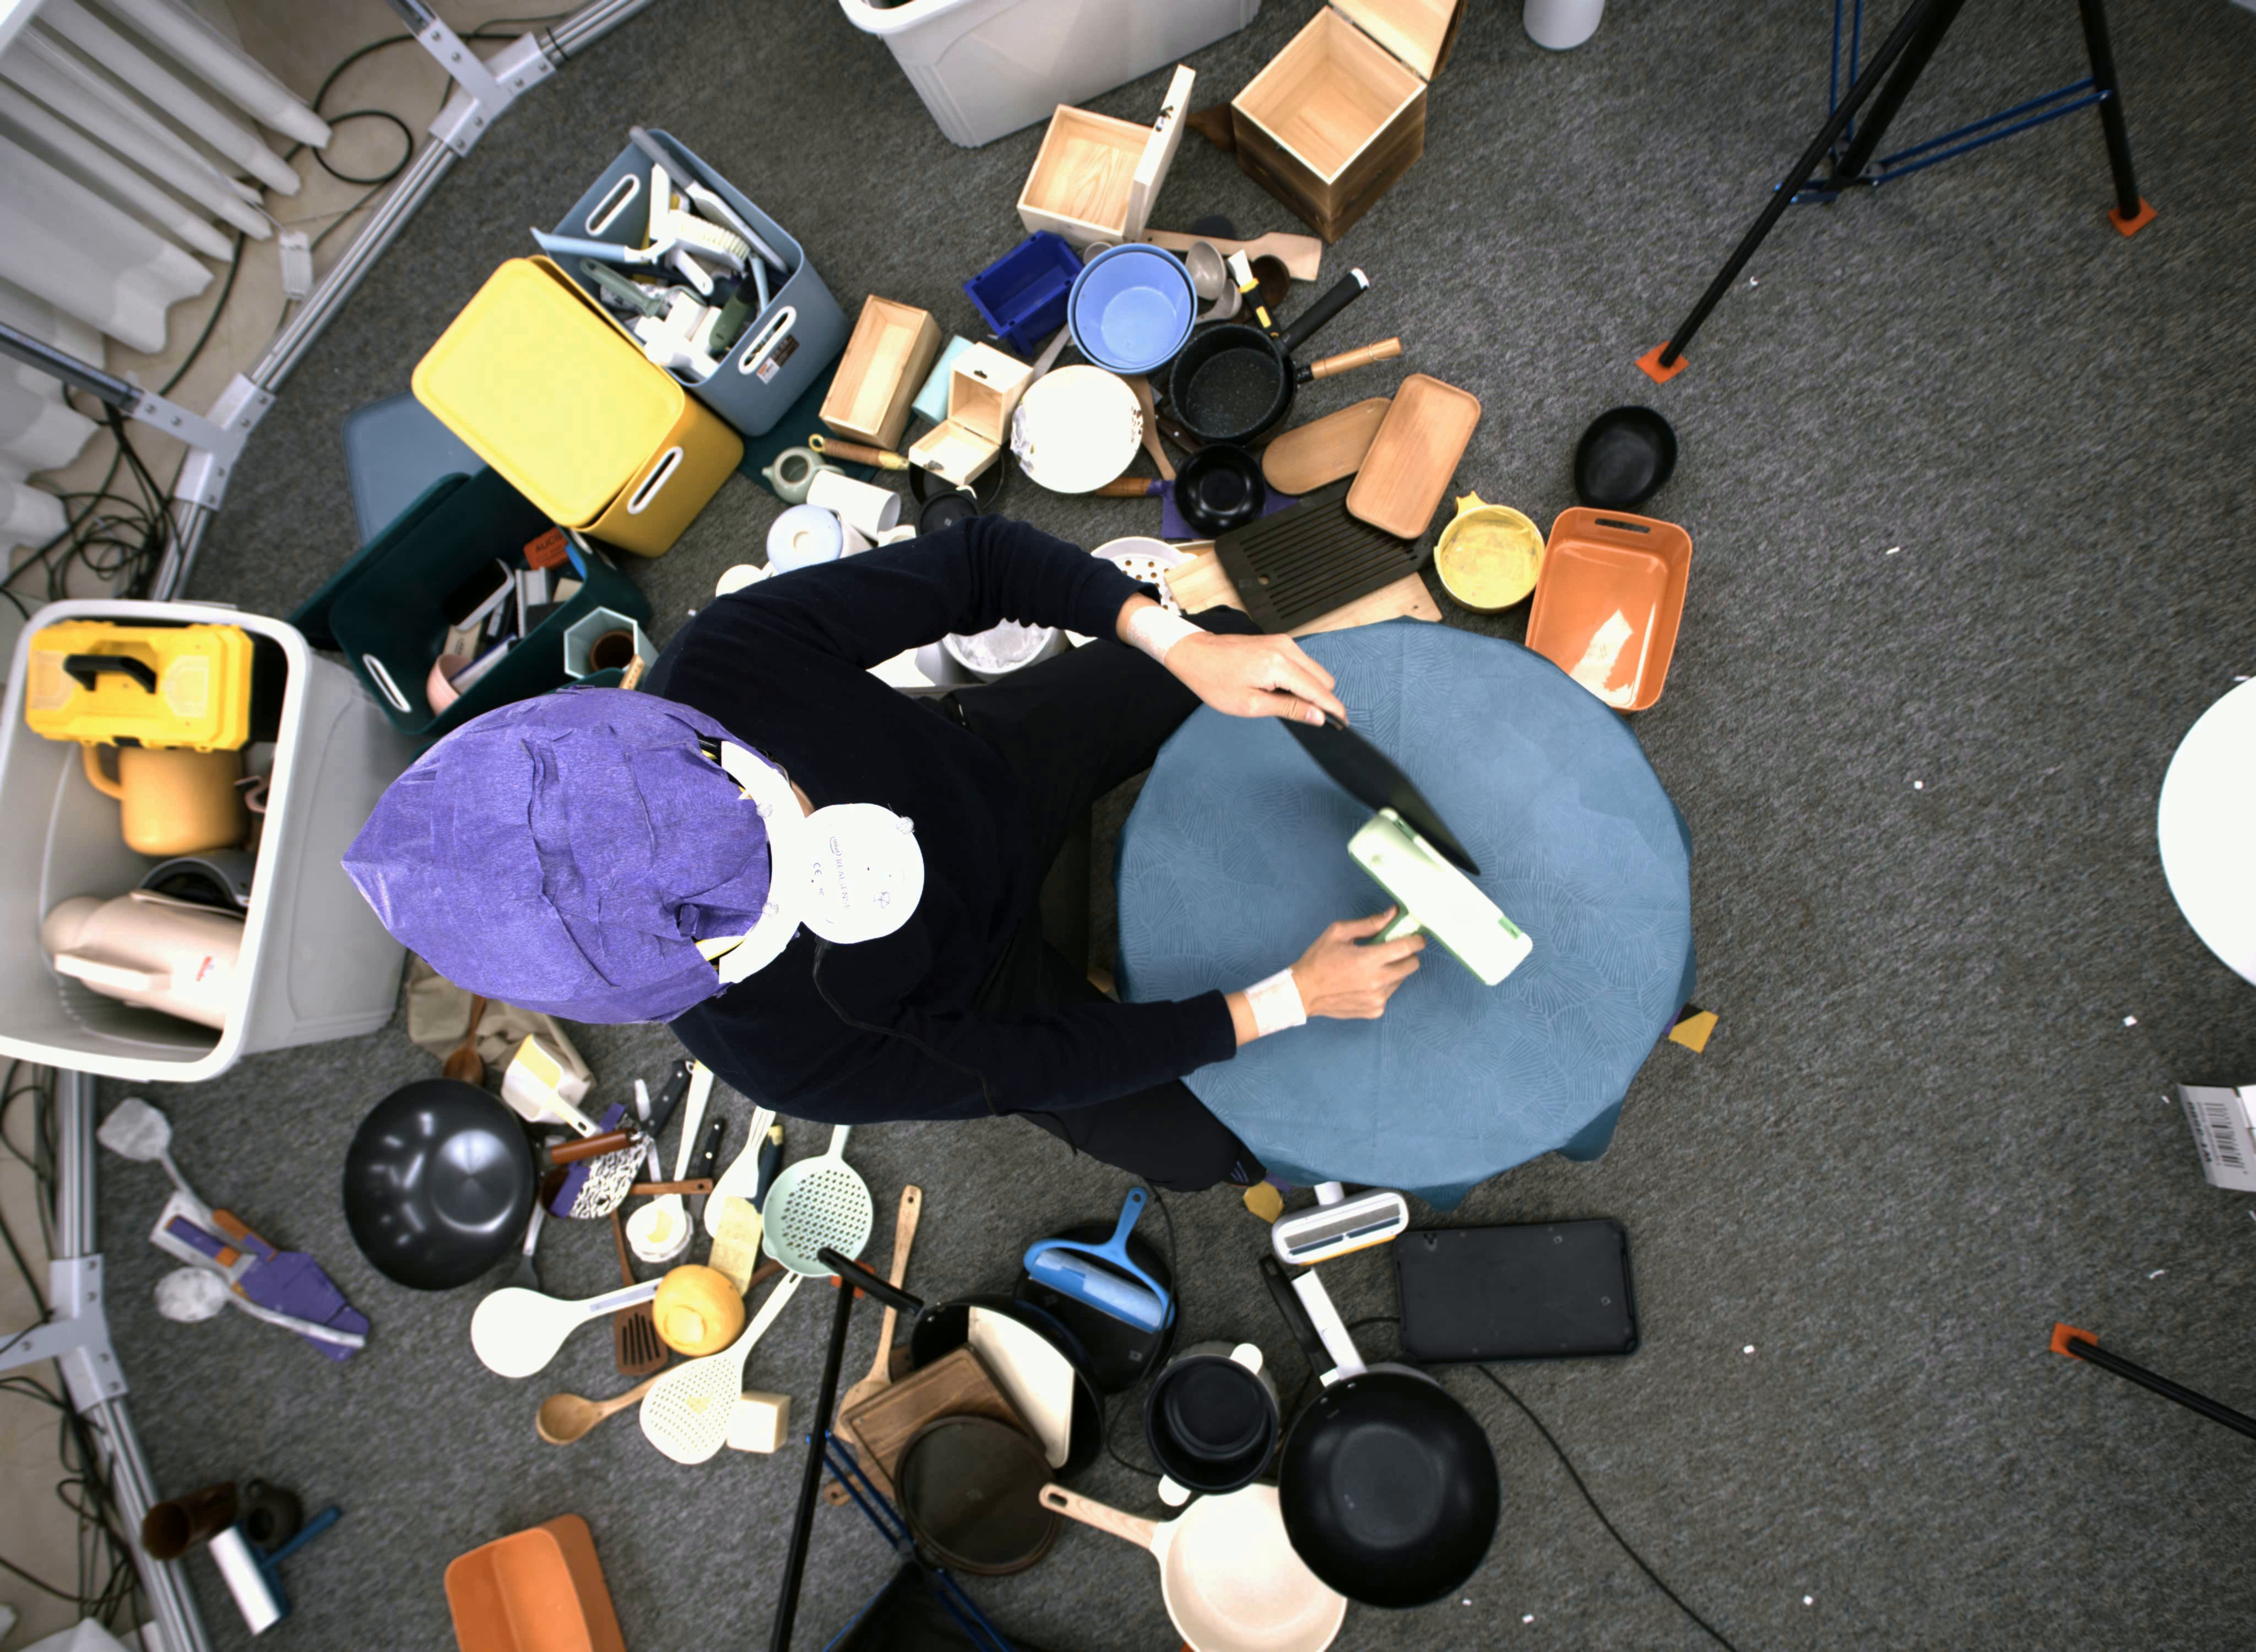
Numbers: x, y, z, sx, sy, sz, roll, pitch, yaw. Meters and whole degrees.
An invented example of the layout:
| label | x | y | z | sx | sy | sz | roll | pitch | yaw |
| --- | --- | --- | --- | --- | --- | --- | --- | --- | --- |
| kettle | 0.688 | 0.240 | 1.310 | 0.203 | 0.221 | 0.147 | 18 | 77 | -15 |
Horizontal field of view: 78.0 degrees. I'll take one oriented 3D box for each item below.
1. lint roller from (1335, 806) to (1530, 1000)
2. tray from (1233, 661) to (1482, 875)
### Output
| label | x | y | z | sx | sy | sz | roll | pitch | yaw |
| --- | --- | --- | --- | --- | --- | --- | --- | --- | --- |
| lint roller | 0.259 | 0.107 | 1.344 | 0.197 | 0.081 | 0.186 | 45 | 110 | 12 |
| tray | 0.216 | -0.054 | 1.289 | 0.010 | 0.328 | 0.209 | -51 | 52 | 1 |
